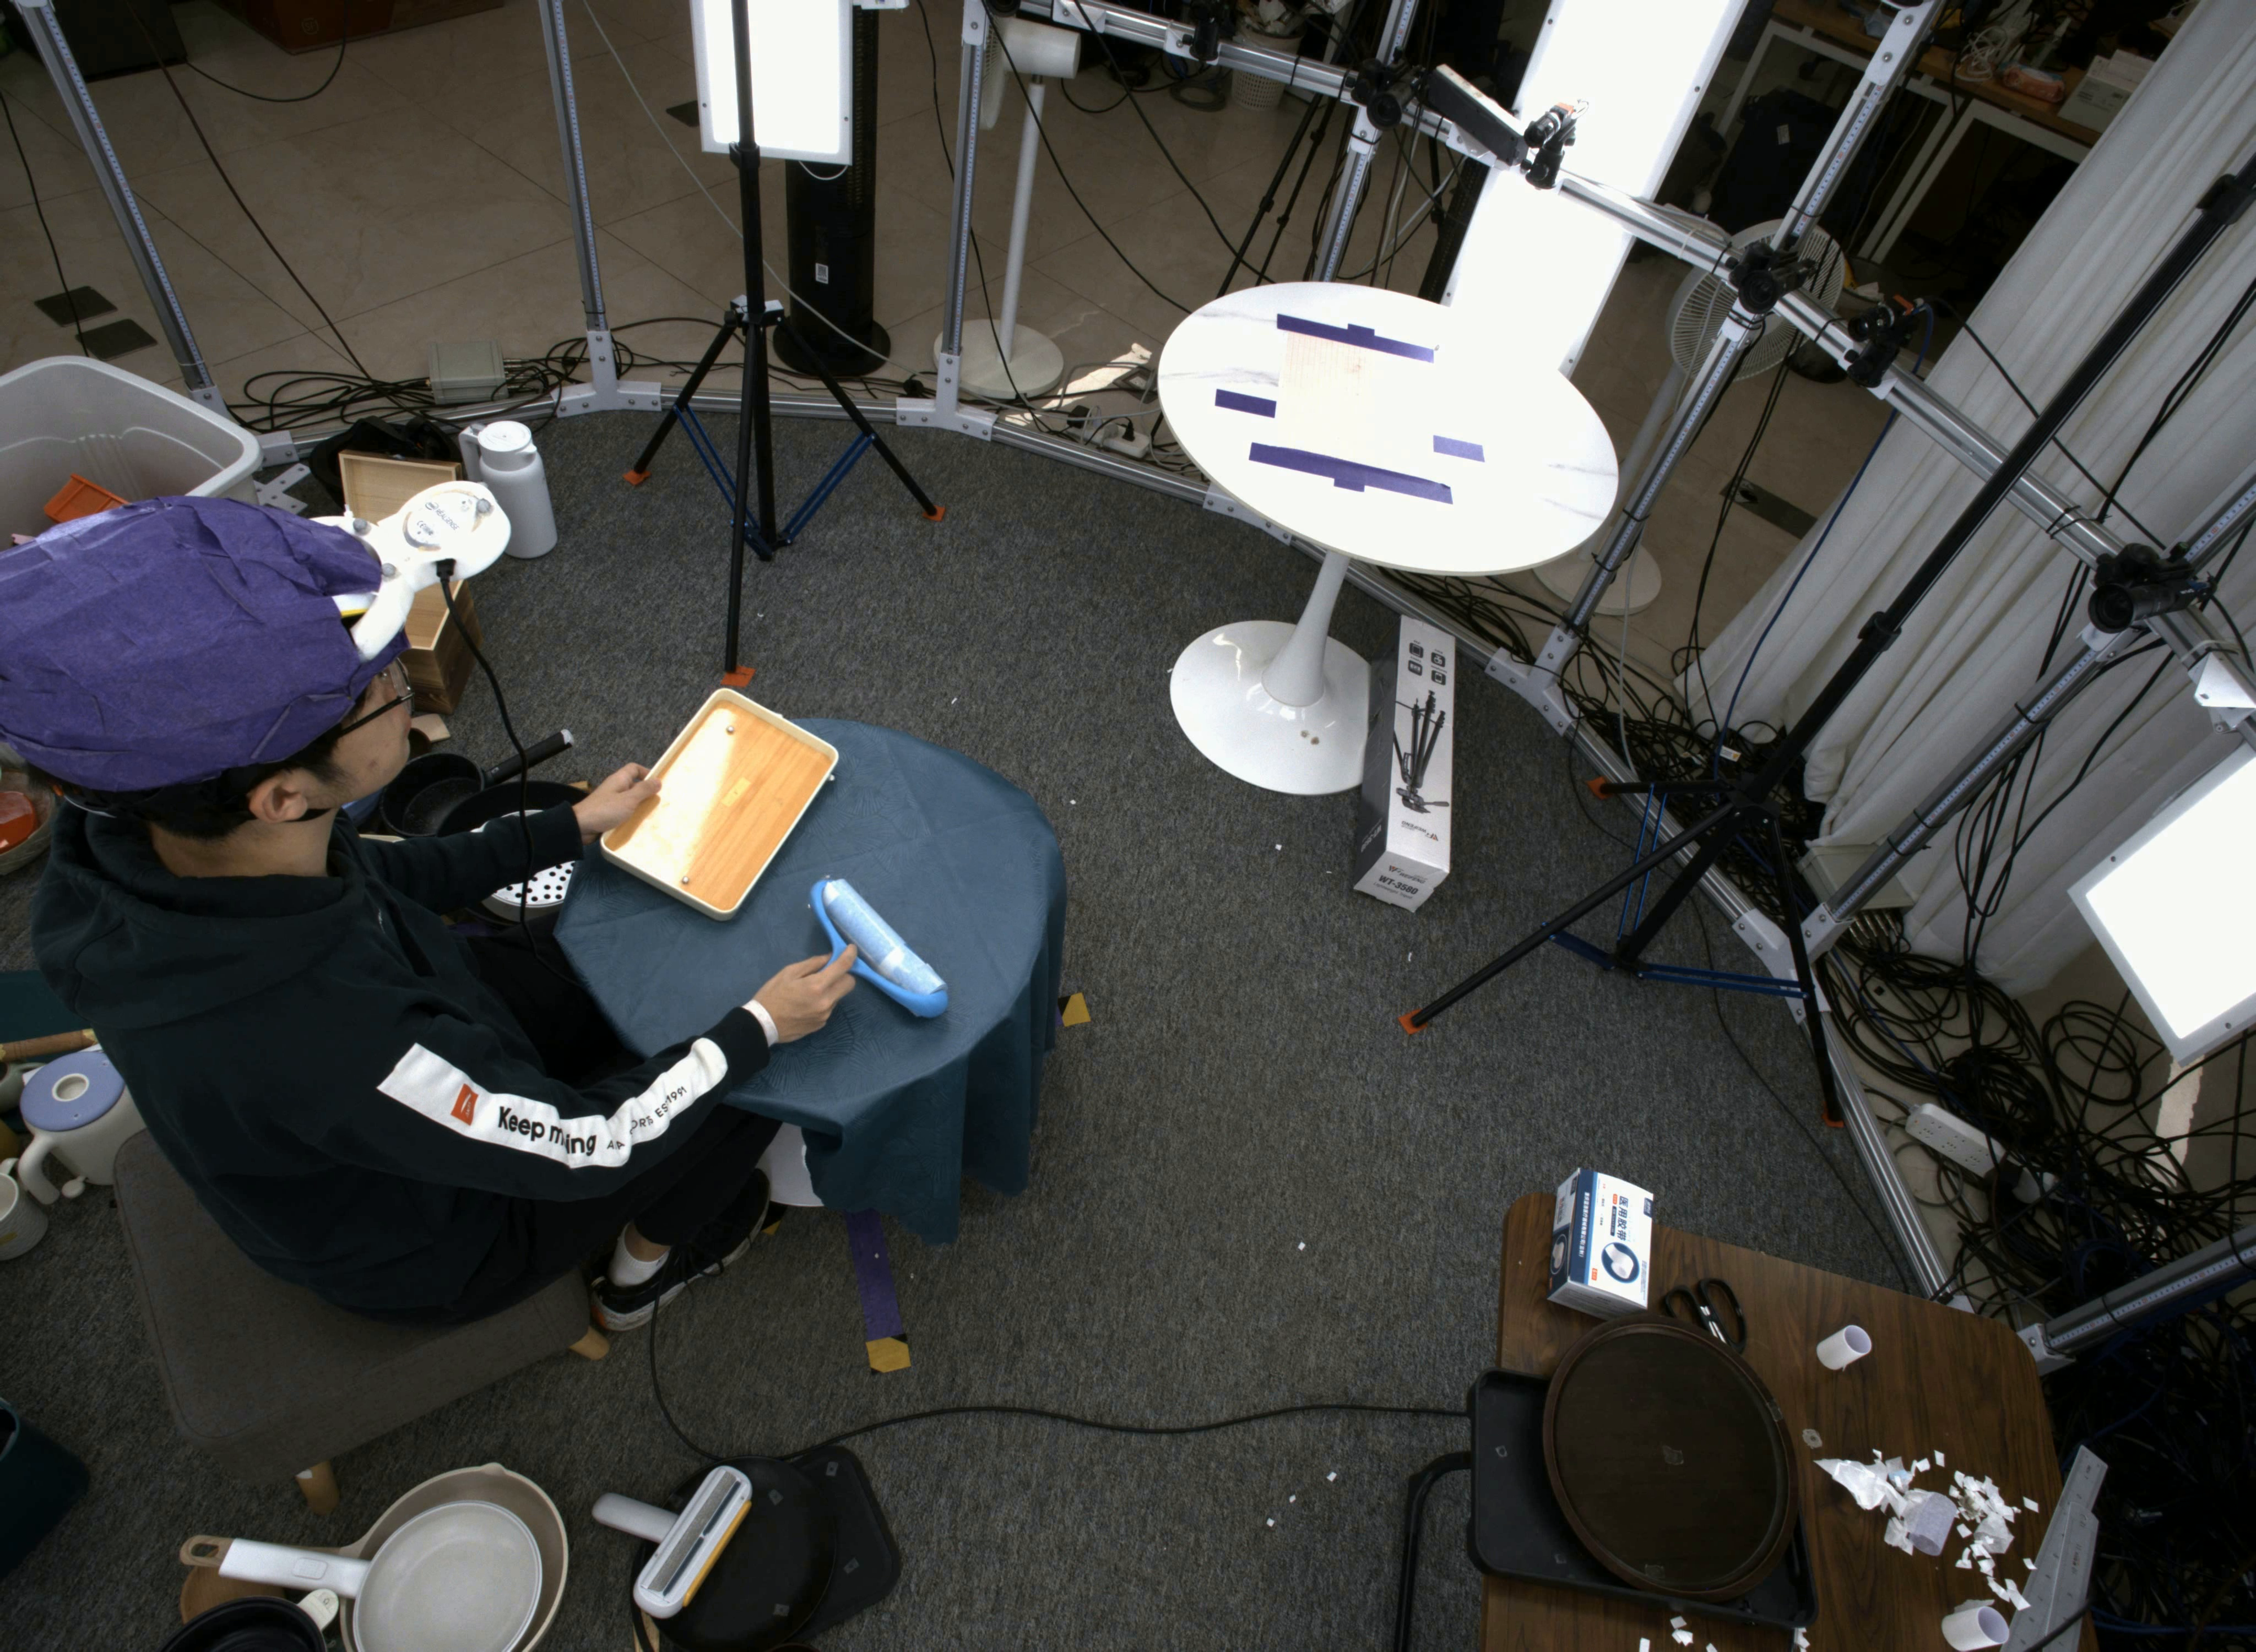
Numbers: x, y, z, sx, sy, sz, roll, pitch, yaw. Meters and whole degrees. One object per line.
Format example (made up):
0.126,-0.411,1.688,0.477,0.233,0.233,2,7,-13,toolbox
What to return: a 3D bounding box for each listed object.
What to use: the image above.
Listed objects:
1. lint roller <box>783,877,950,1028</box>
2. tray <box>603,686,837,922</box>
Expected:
-0.341,0.174,1.570,0.226,0.068,0.180,42,50,7,lint roller
-0.528,-0.036,1.680,0.192,0.027,0.298,31,54,-8,tray
